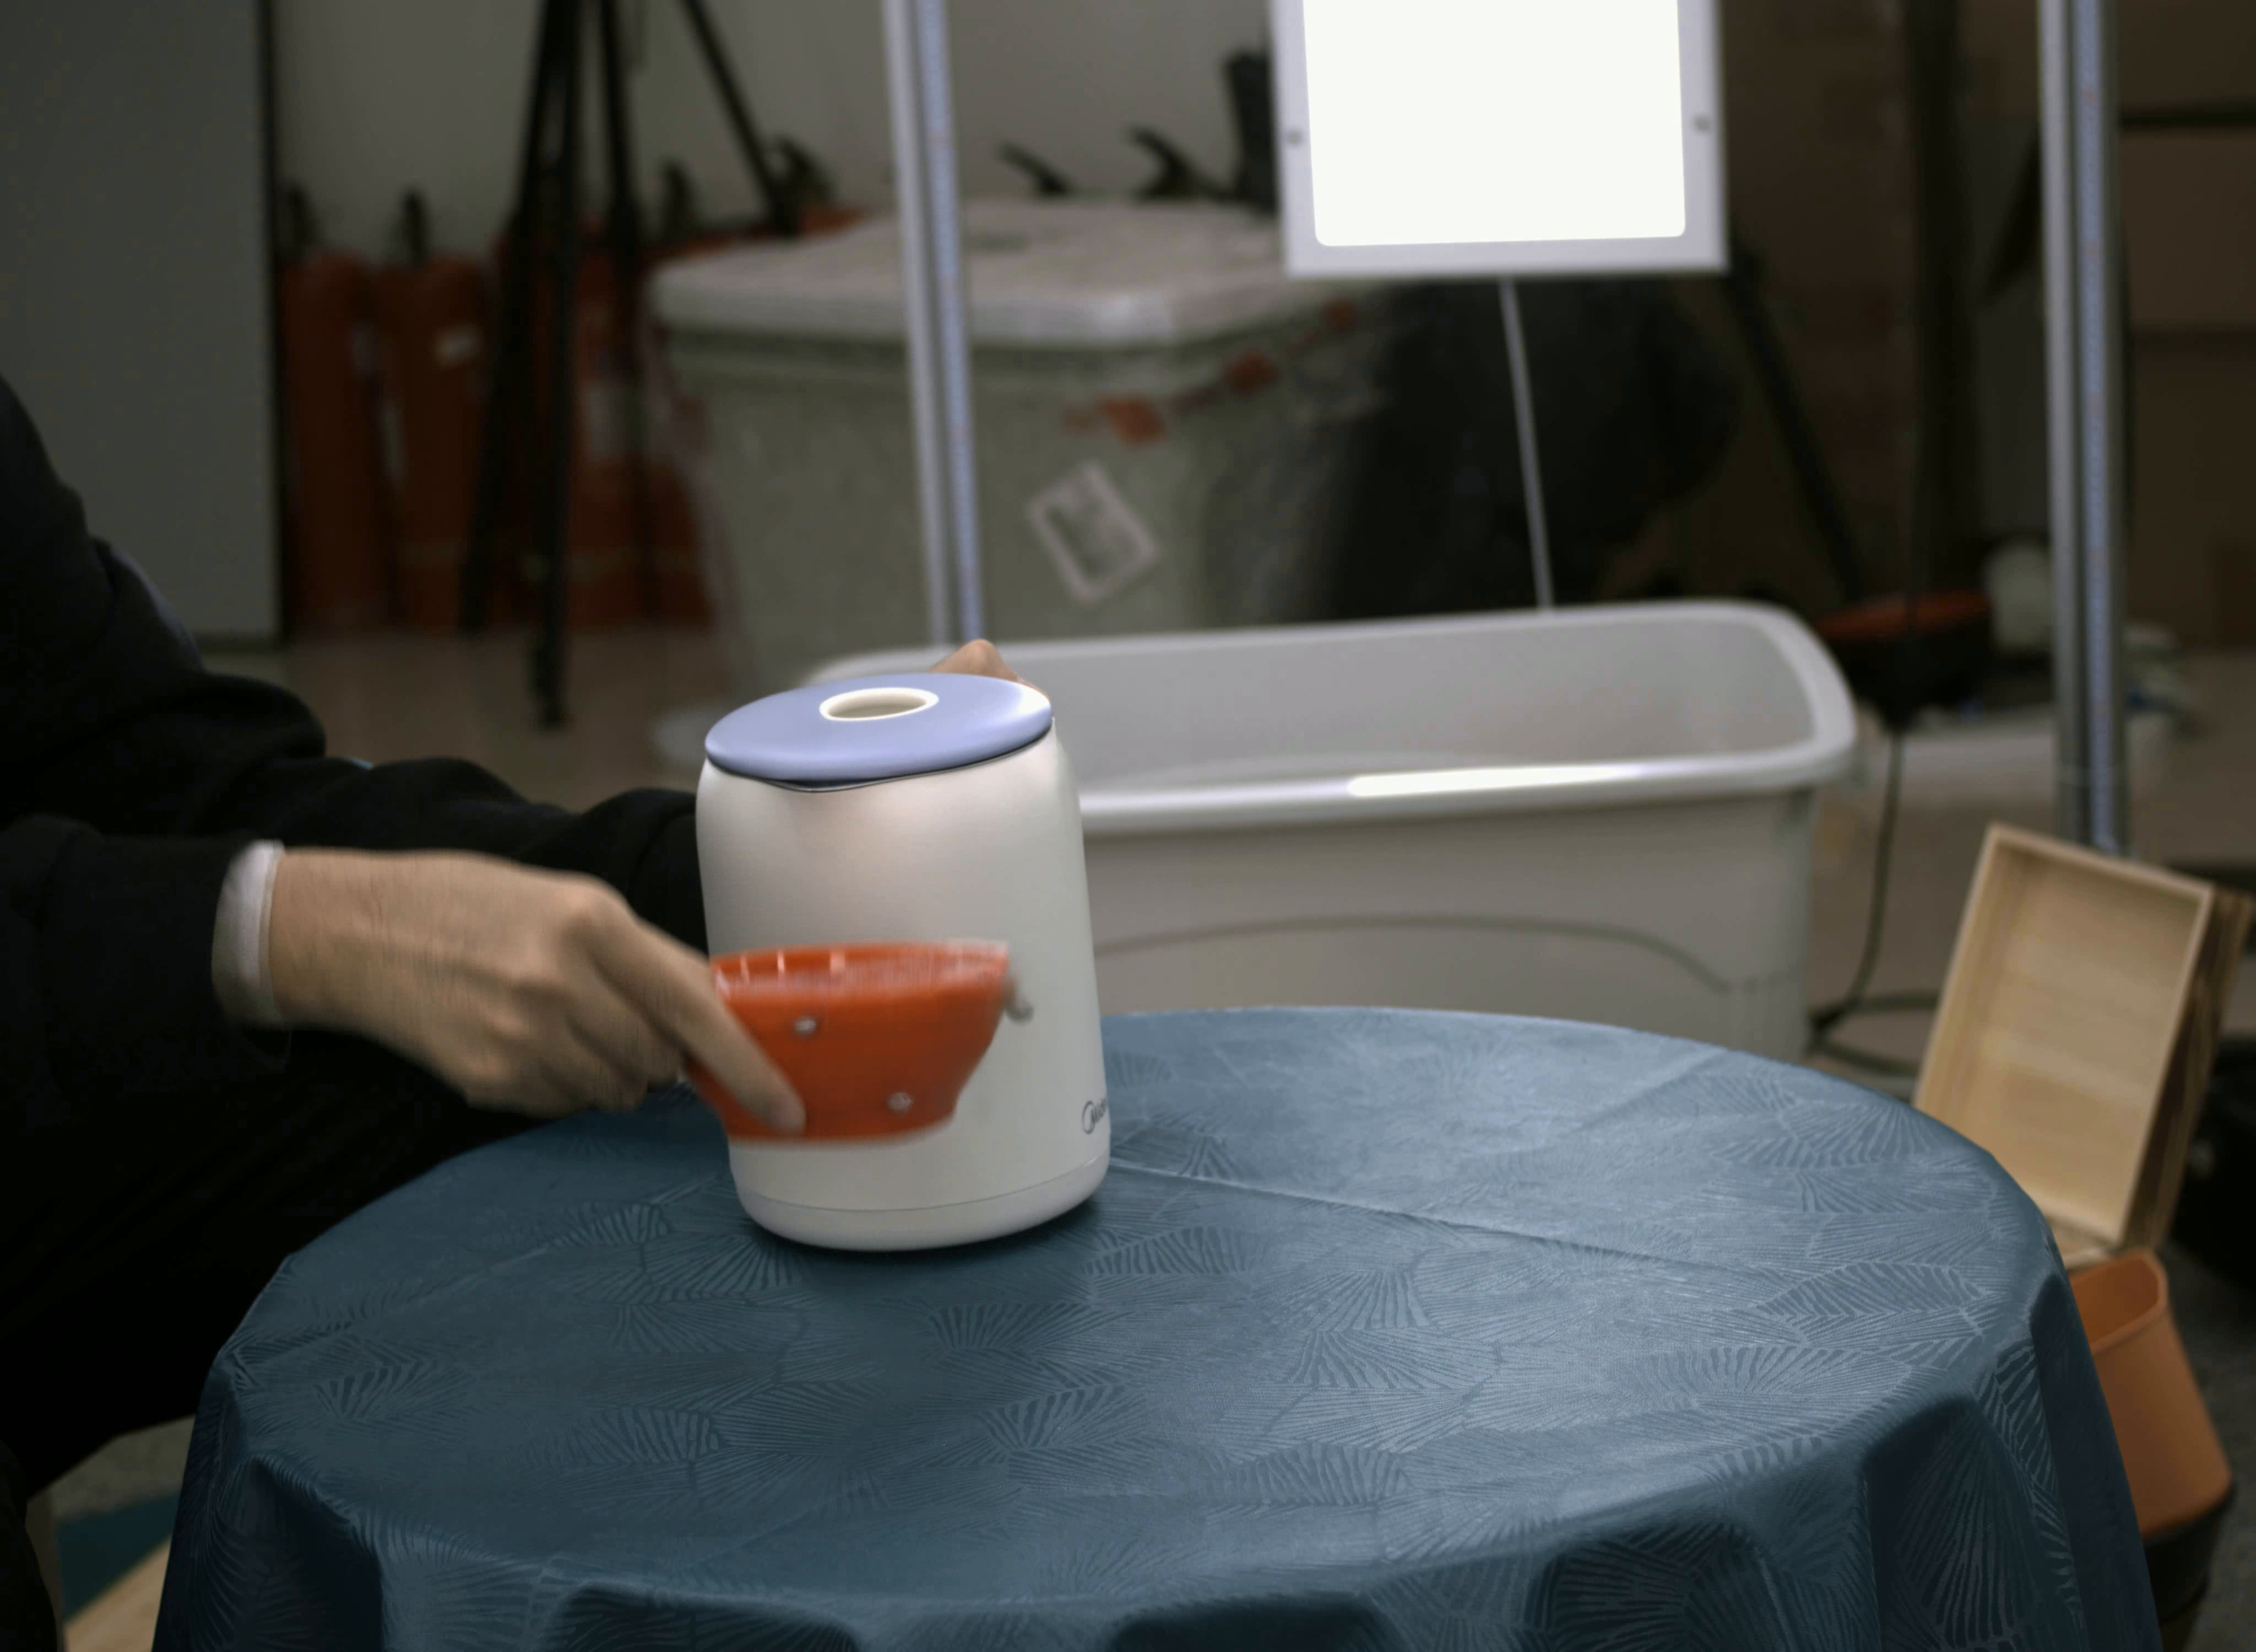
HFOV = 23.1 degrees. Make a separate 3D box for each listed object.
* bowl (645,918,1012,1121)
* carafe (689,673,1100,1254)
[{"bbox_3d":[-0.092,0.061,1.718,0.118,0.051,0.119,-3,8,-1],"label":"bowl"},{"bbox_3d":[-0.073,0.040,1.896,0.133,0.183,0.188,0,14,15],"label":"carafe"}]
